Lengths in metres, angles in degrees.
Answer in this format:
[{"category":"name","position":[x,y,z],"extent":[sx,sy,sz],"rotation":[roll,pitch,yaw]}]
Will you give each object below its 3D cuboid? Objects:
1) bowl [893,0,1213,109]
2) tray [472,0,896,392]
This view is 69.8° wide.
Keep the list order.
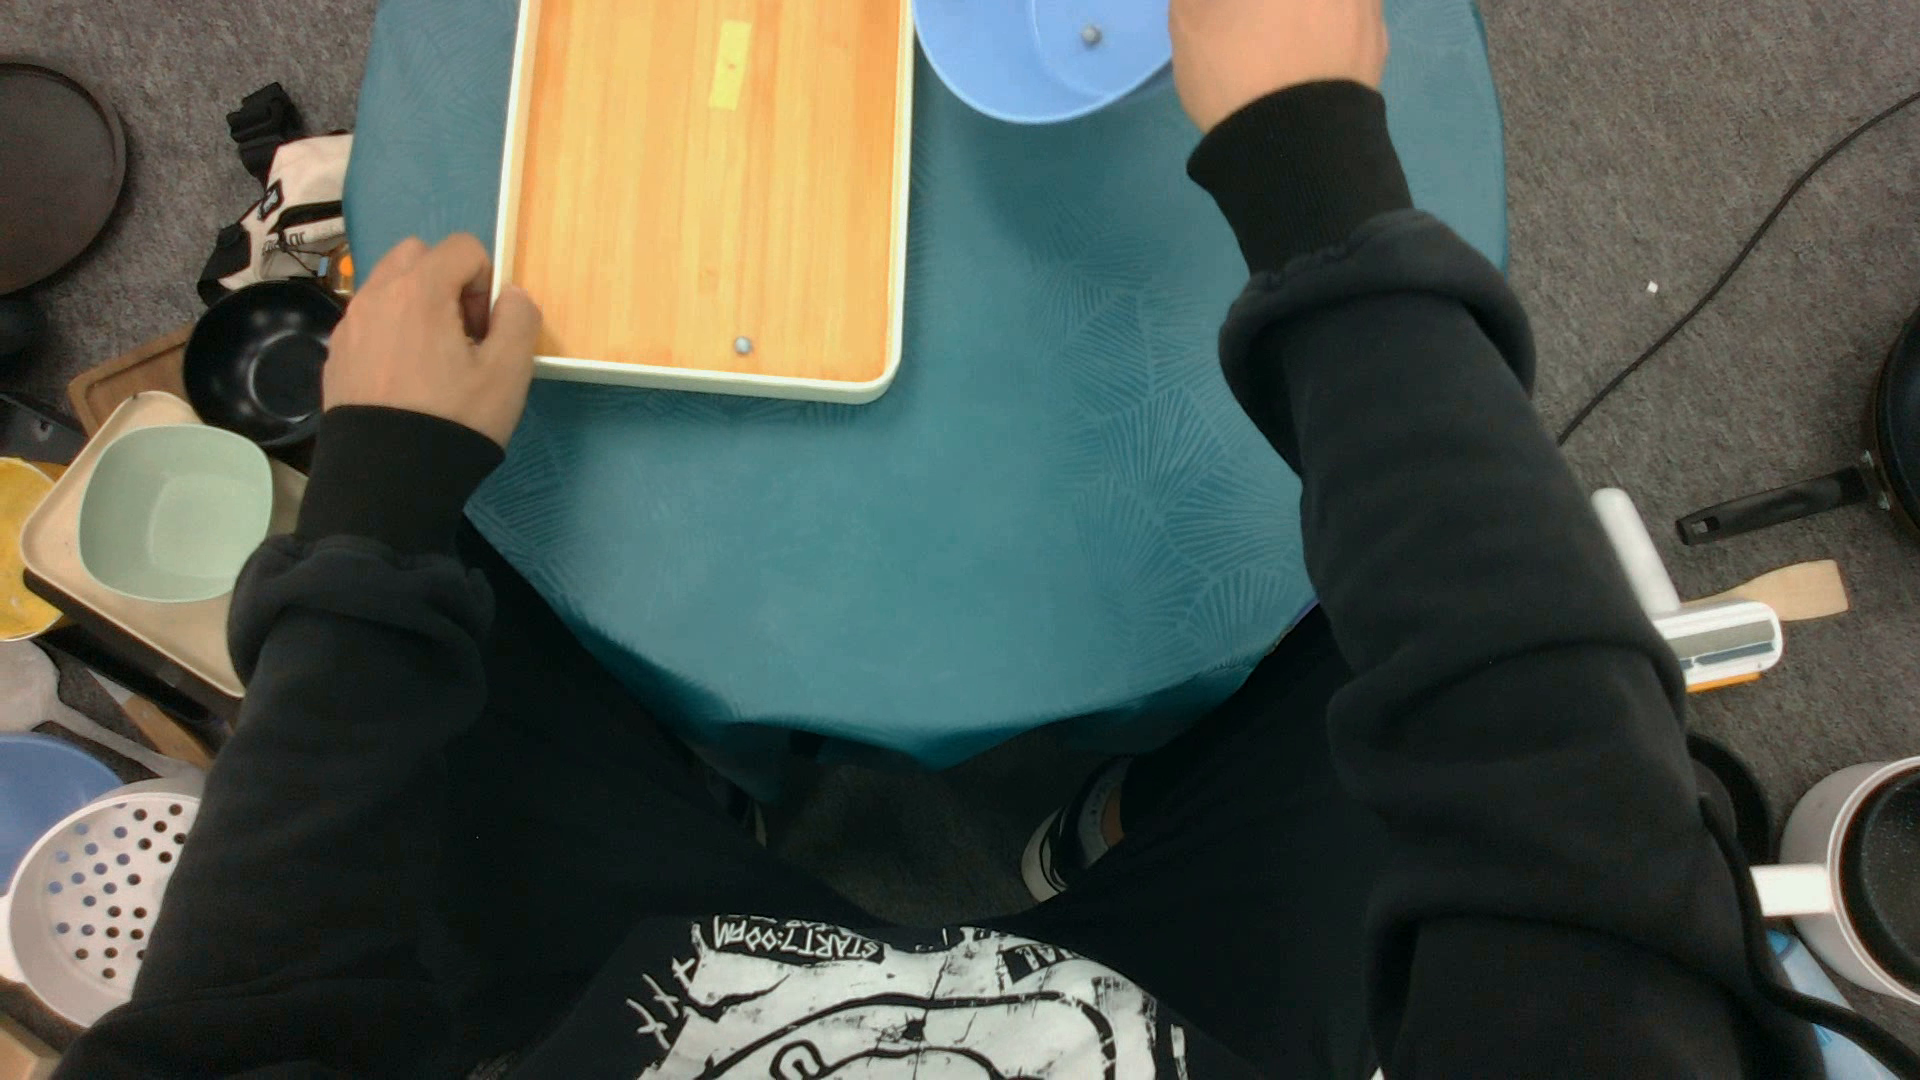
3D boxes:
[{"category":"bowl","position":[0.056,-0.272,0.619],"extent":[0.175,0.070,0.176],"rotation":[-3,85,36]},{"category":"tray","position":[-0.130,-0.225,0.686],"extent":[0.192,0.027,0.301],"rotation":[4,77,-9]}]
